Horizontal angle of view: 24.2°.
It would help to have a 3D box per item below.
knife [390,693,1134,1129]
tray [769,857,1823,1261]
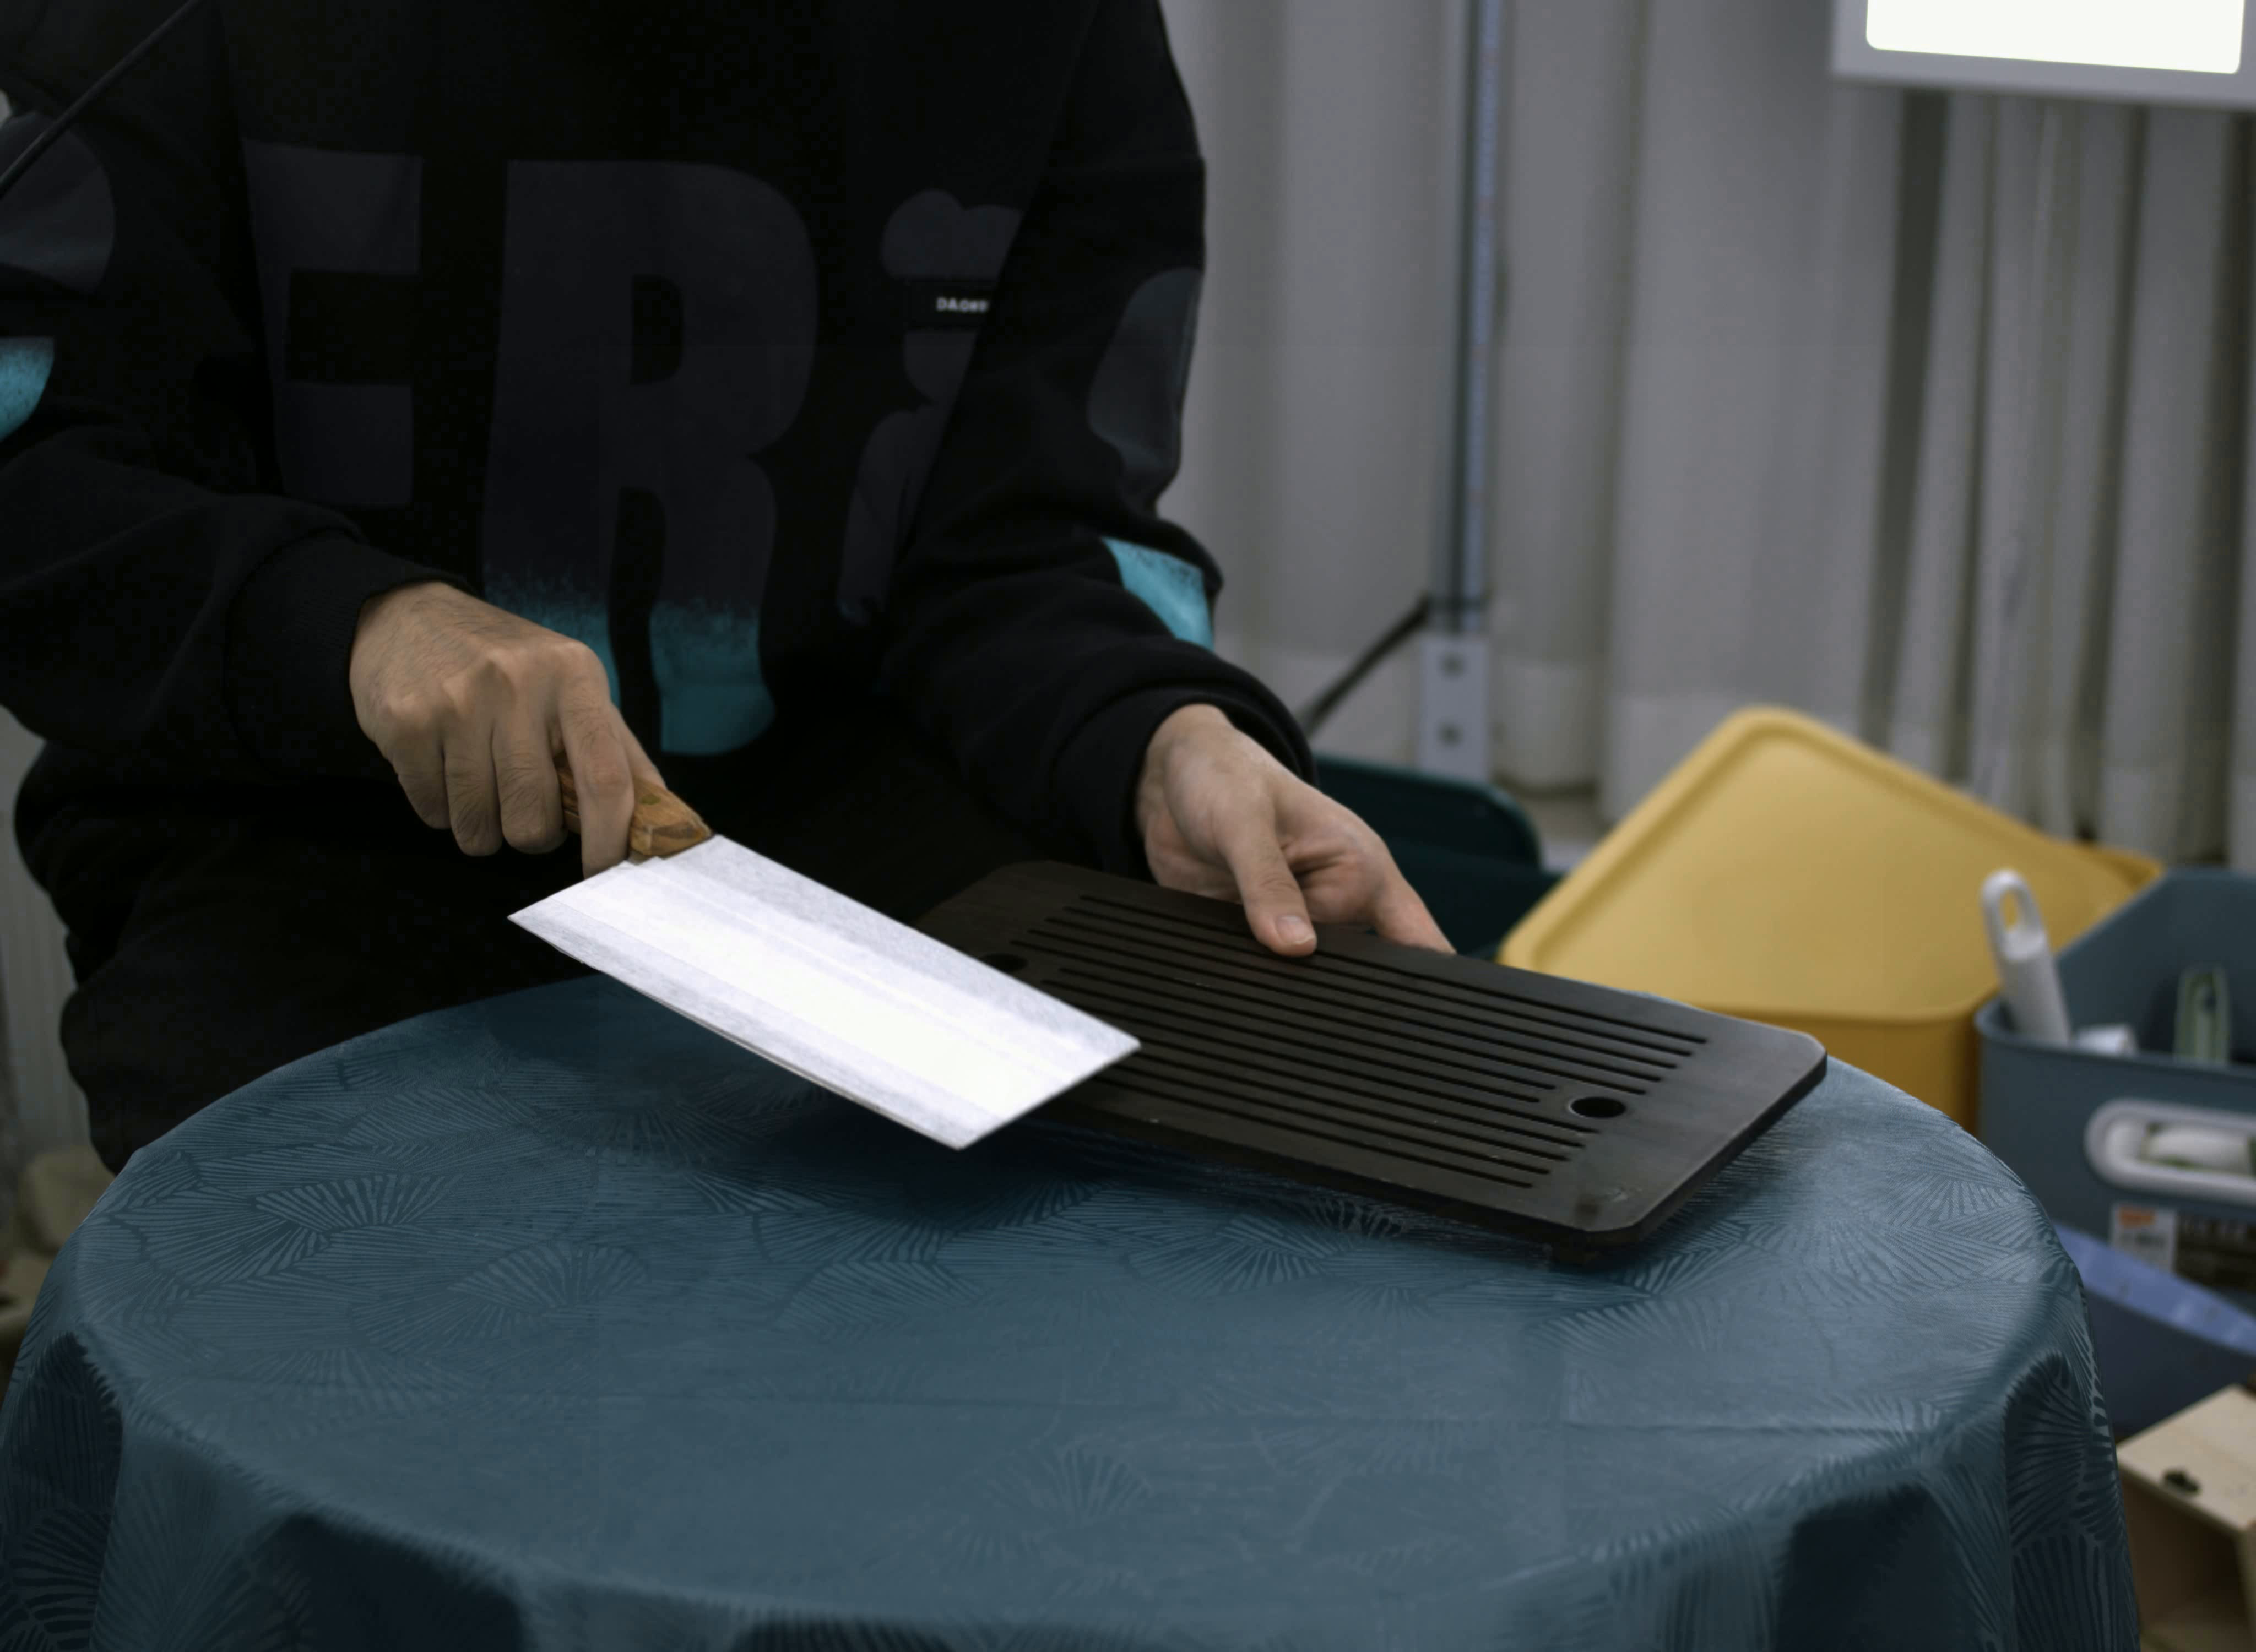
[{"bbox_3d":[-0.138,0.028,1.685,0.302,0.021,0.093,25,34,30],"label":"knife"},{"bbox_3d":[0.053,0.071,1.683,0.302,0.019,0.170,12,25,27],"label":"tray"}]
